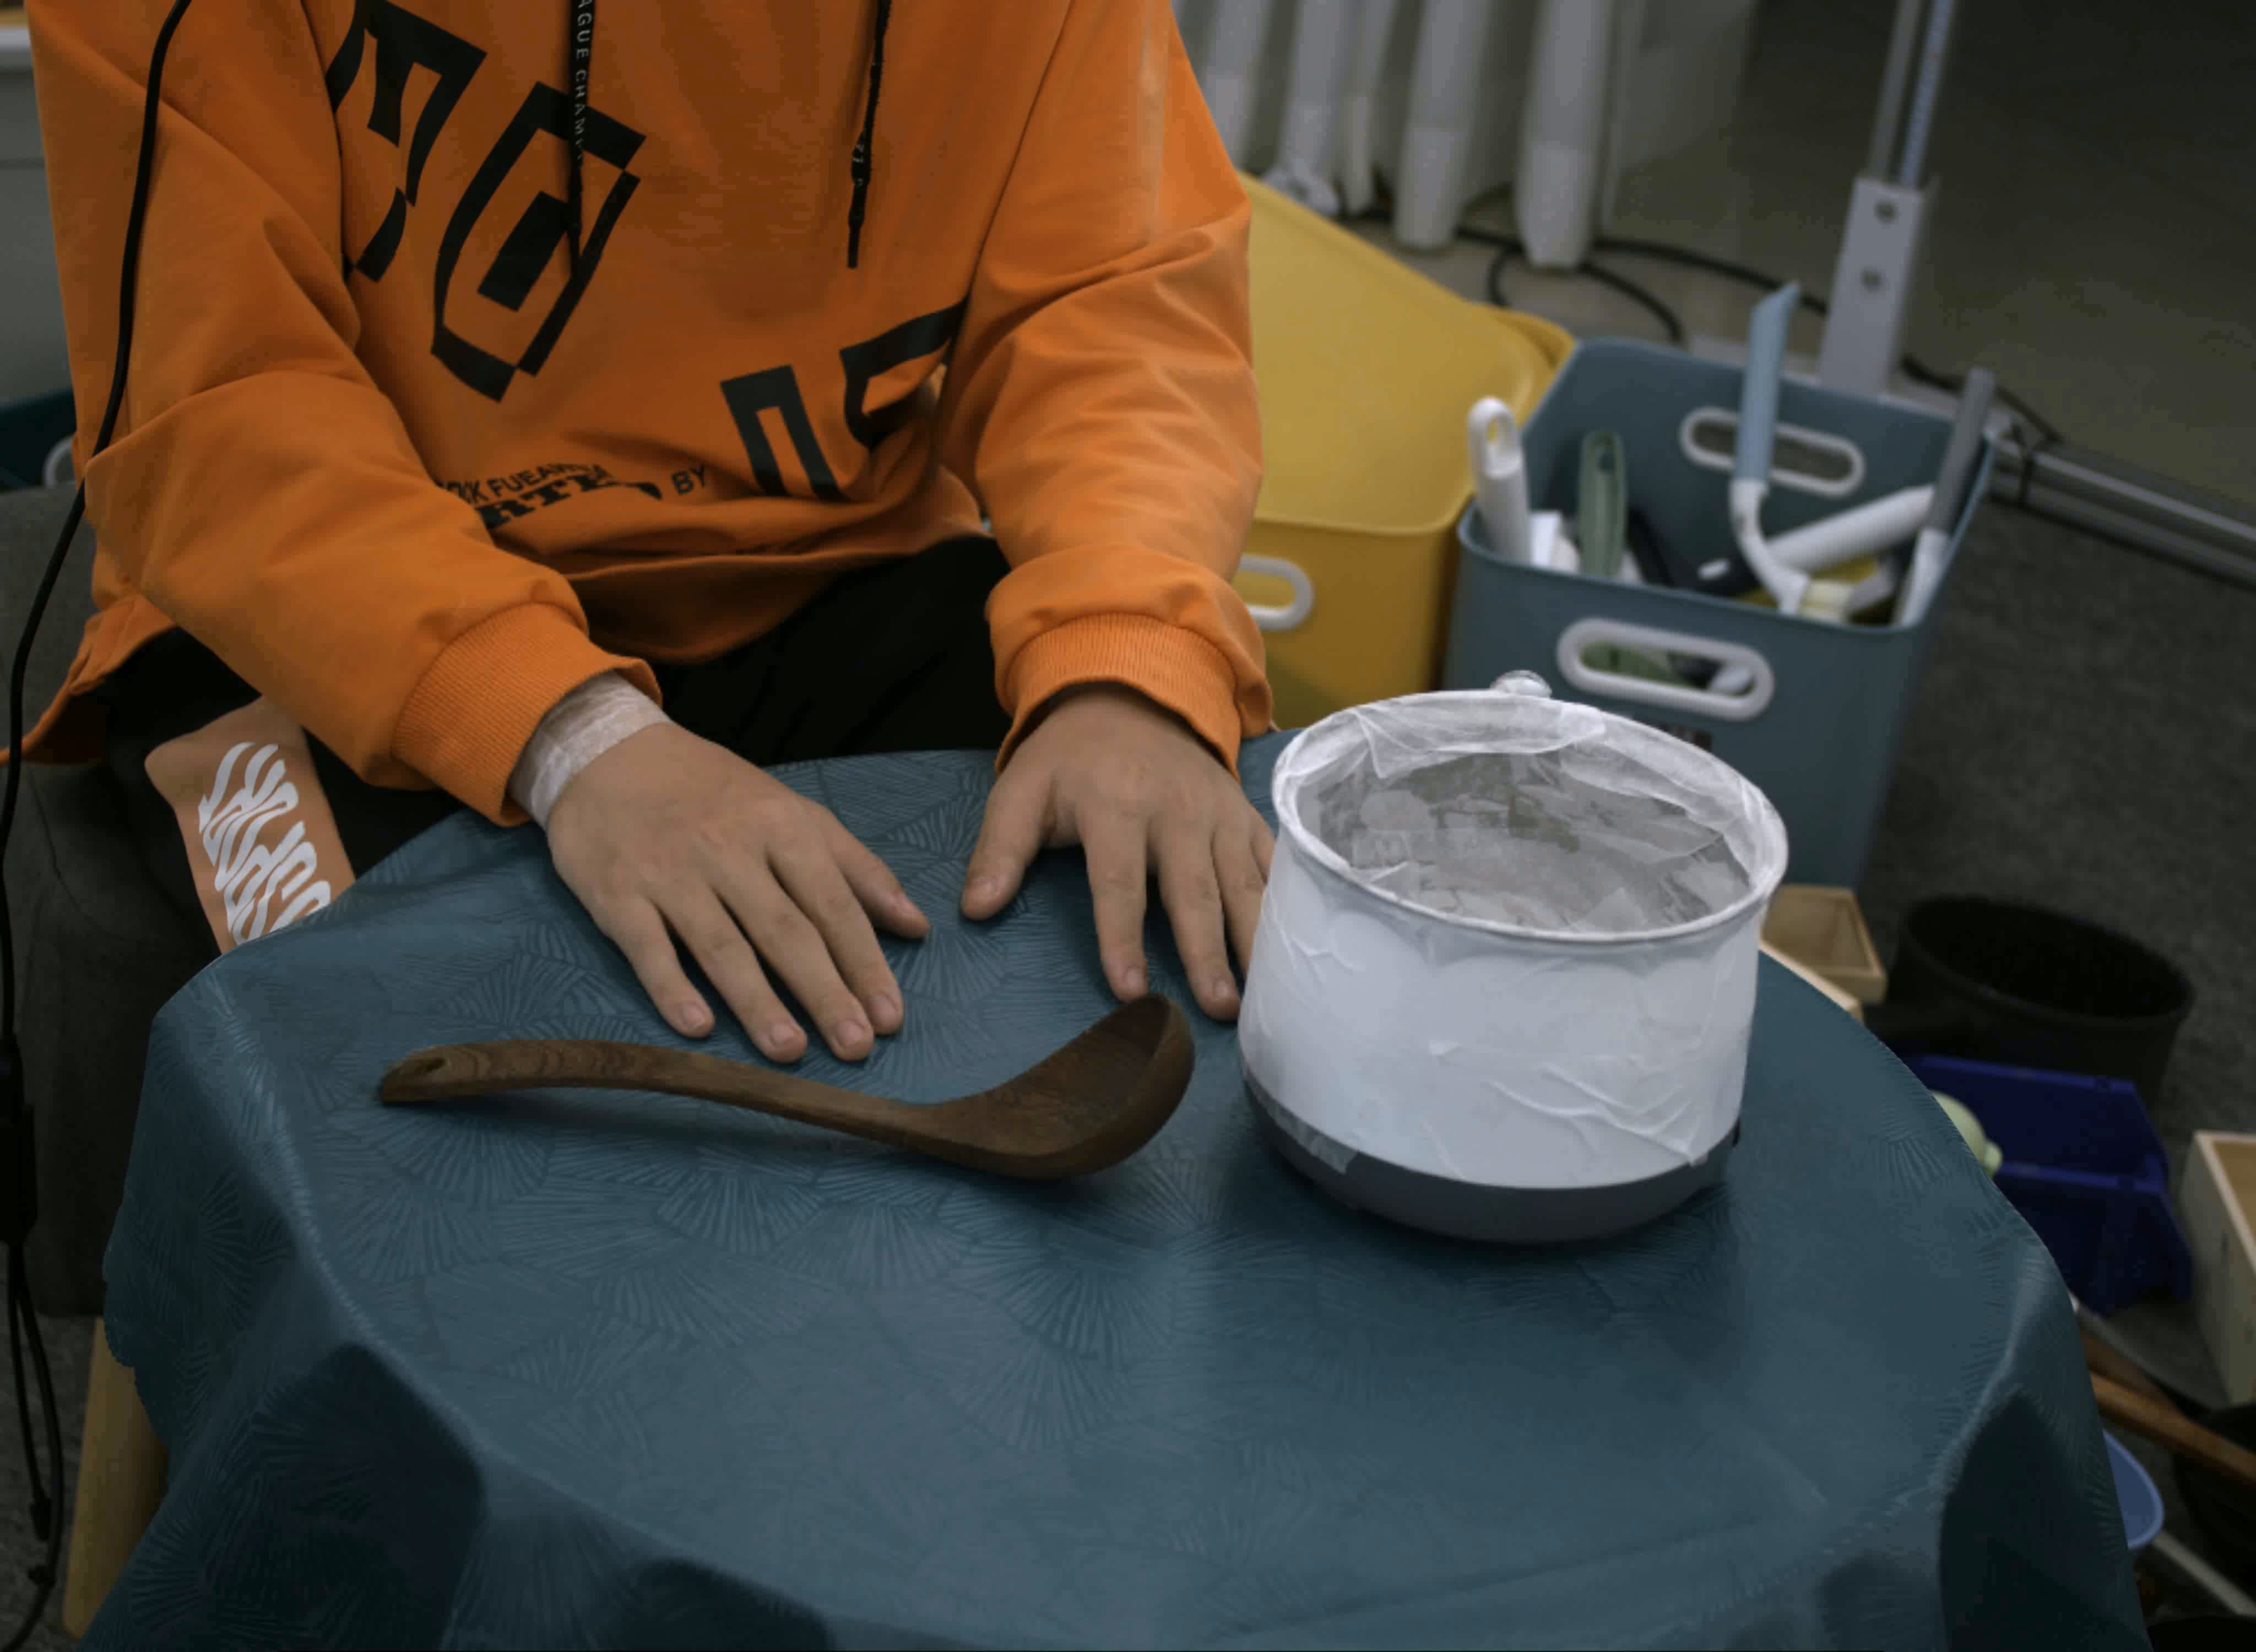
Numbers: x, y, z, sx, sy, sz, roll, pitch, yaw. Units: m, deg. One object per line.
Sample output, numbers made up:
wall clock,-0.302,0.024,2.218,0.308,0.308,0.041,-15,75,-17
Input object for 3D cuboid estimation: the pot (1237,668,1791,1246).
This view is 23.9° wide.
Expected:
pot,0.129,0.038,1.849,0.178,0.136,0.235,6,27,-2

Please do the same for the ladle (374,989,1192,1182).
ladle,-0.116,0.075,1.795,0.273,0.071,0.076,7,23,0
